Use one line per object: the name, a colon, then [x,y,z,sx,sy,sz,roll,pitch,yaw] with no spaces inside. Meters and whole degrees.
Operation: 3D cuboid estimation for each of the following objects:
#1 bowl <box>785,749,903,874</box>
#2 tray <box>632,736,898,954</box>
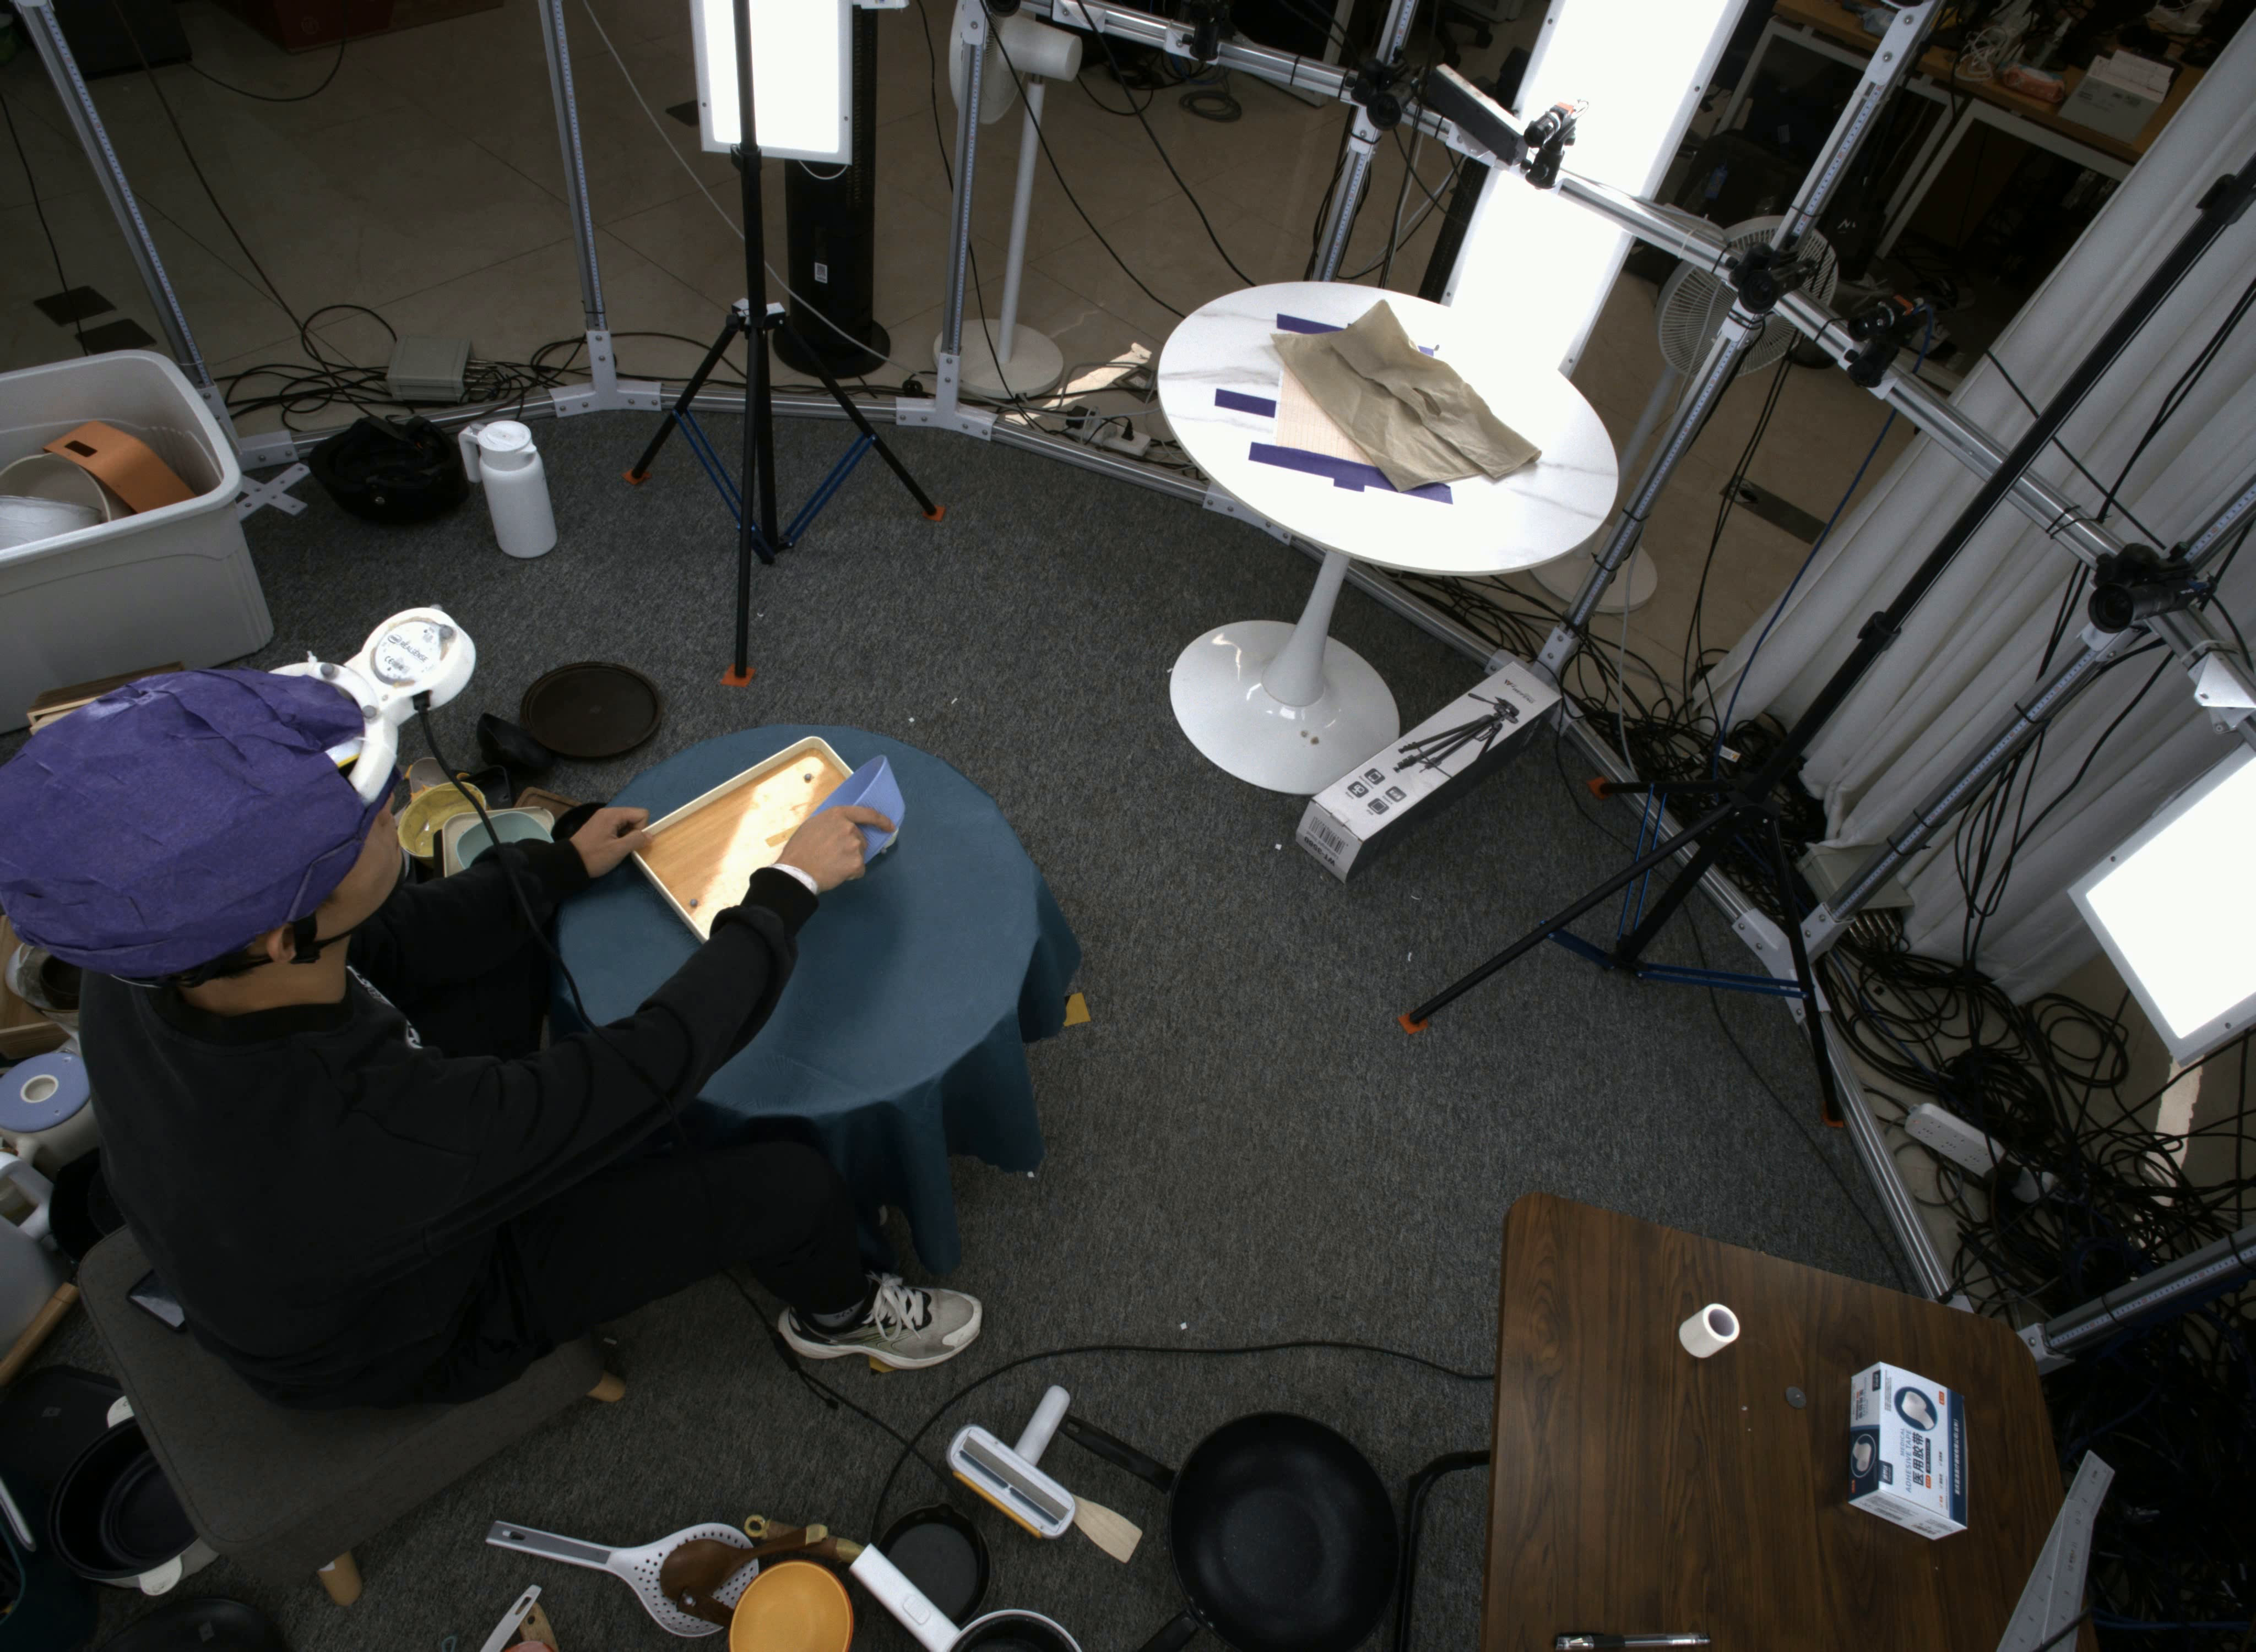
bowl: [-0.338,-0.008,1.592,0.072,0.173,0.175,44,49,-18]
tray: [-0.466,0.016,1.674,0.301,0.027,0.189,-36,77,-33]
